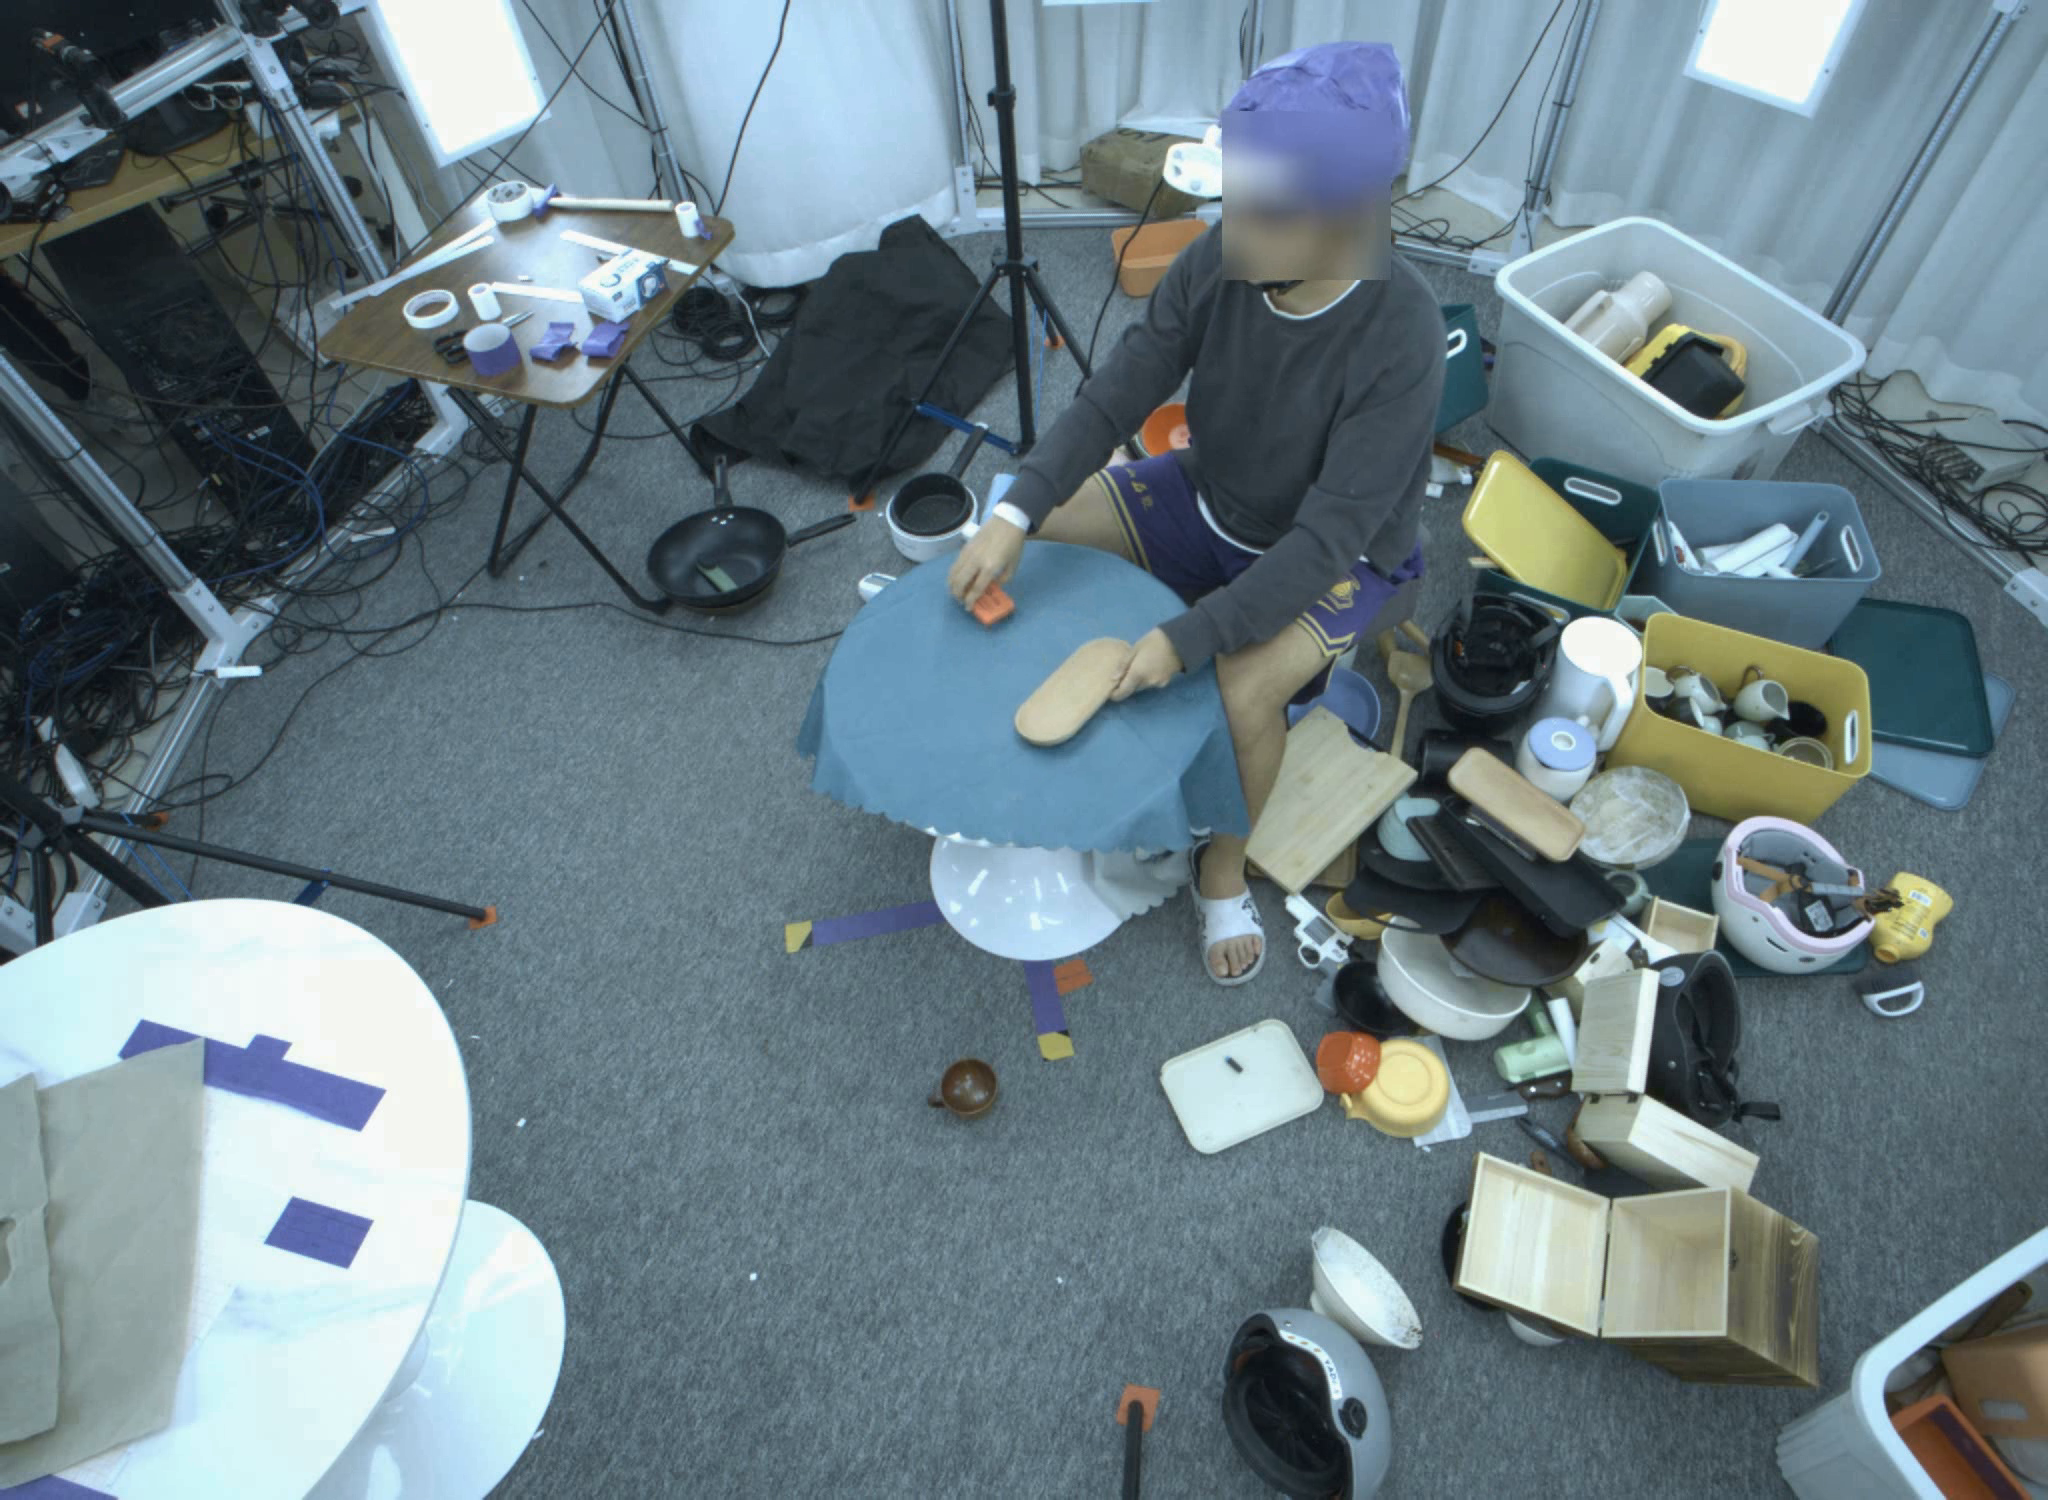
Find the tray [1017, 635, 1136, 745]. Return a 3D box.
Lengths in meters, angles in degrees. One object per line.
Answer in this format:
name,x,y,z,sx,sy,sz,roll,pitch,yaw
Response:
tray,0.080,-0.091,1.832,0.099,0.020,0.232,26,58,30

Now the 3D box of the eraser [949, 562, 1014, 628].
eraser,-0.068,-0.245,1.939,0.059,0.023,0.106,-37,67,-9
